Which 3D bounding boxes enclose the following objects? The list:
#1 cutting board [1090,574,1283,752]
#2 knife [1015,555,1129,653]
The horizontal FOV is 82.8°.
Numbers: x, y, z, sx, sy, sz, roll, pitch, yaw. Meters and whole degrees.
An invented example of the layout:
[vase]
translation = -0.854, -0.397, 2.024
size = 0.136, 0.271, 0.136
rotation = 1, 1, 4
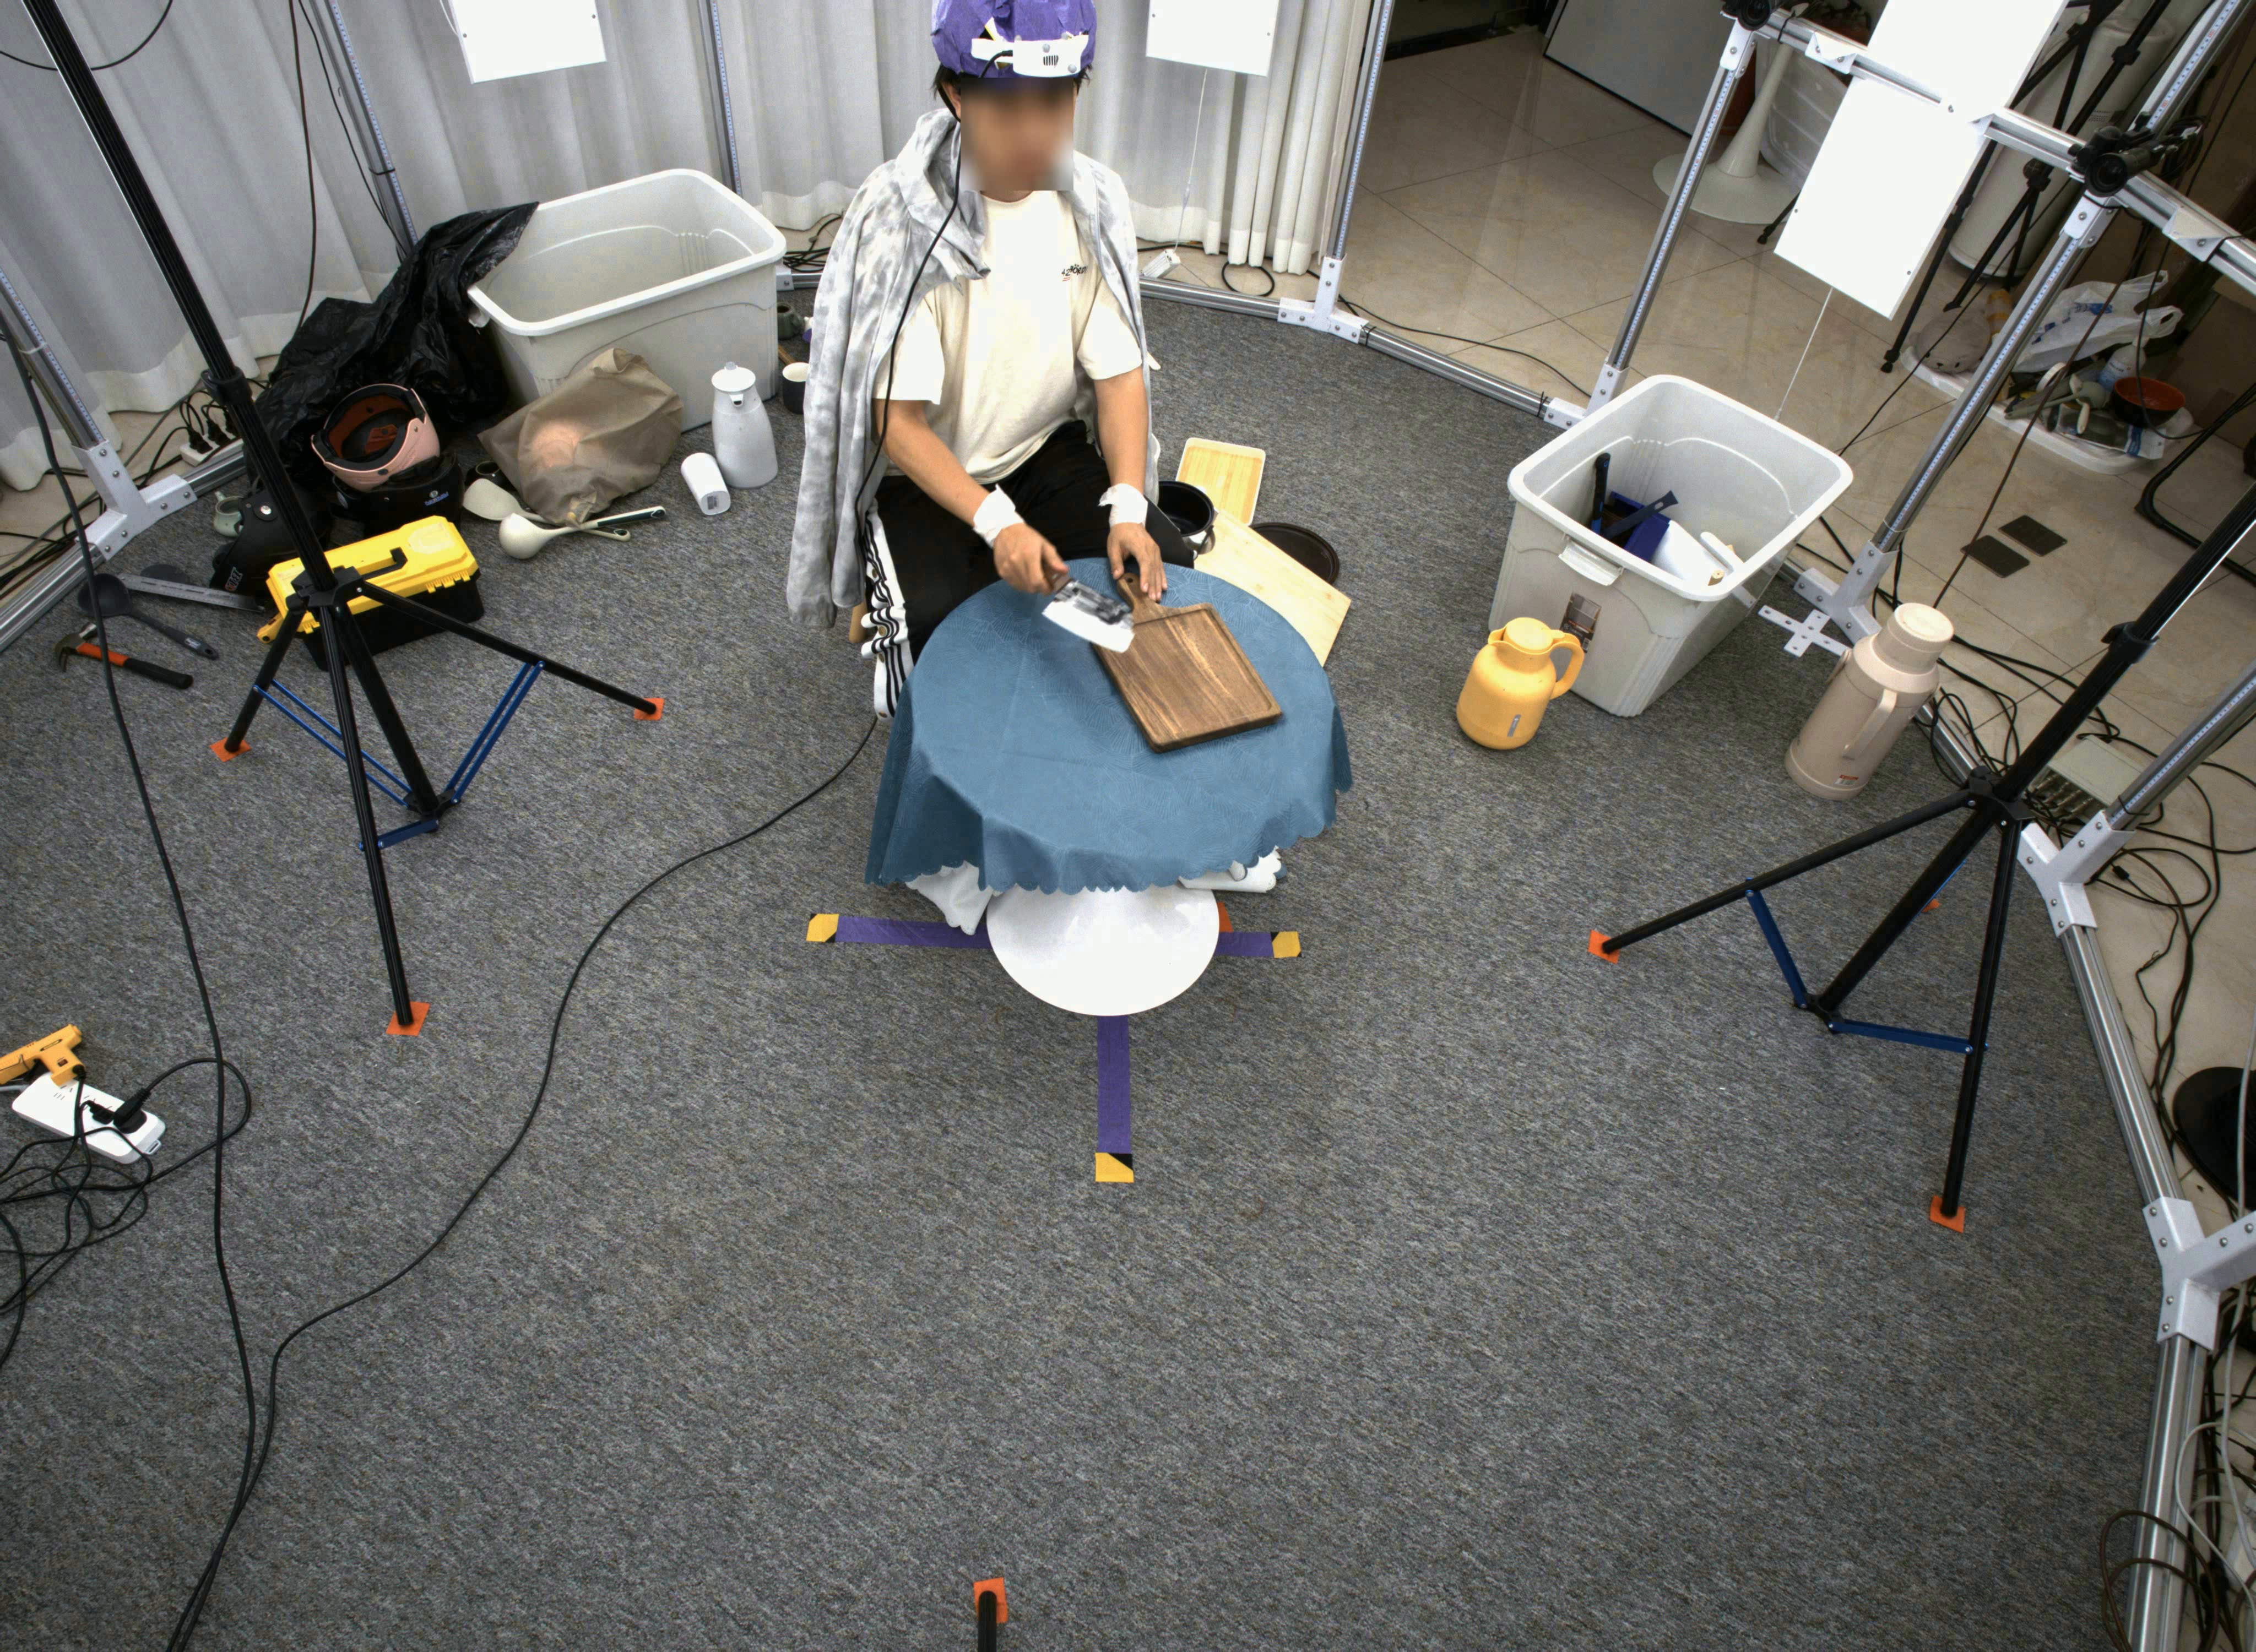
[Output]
[cutting board]
translation = 0.062, -0.256, 1.874
size = 0.201, 0.022, 0.360
rotation = -15, 51, -17
[knife]
translation = -0.086, -0.316, 1.822
size = 0.068, 0.023, 0.305
rotation = -48, 47, -5
